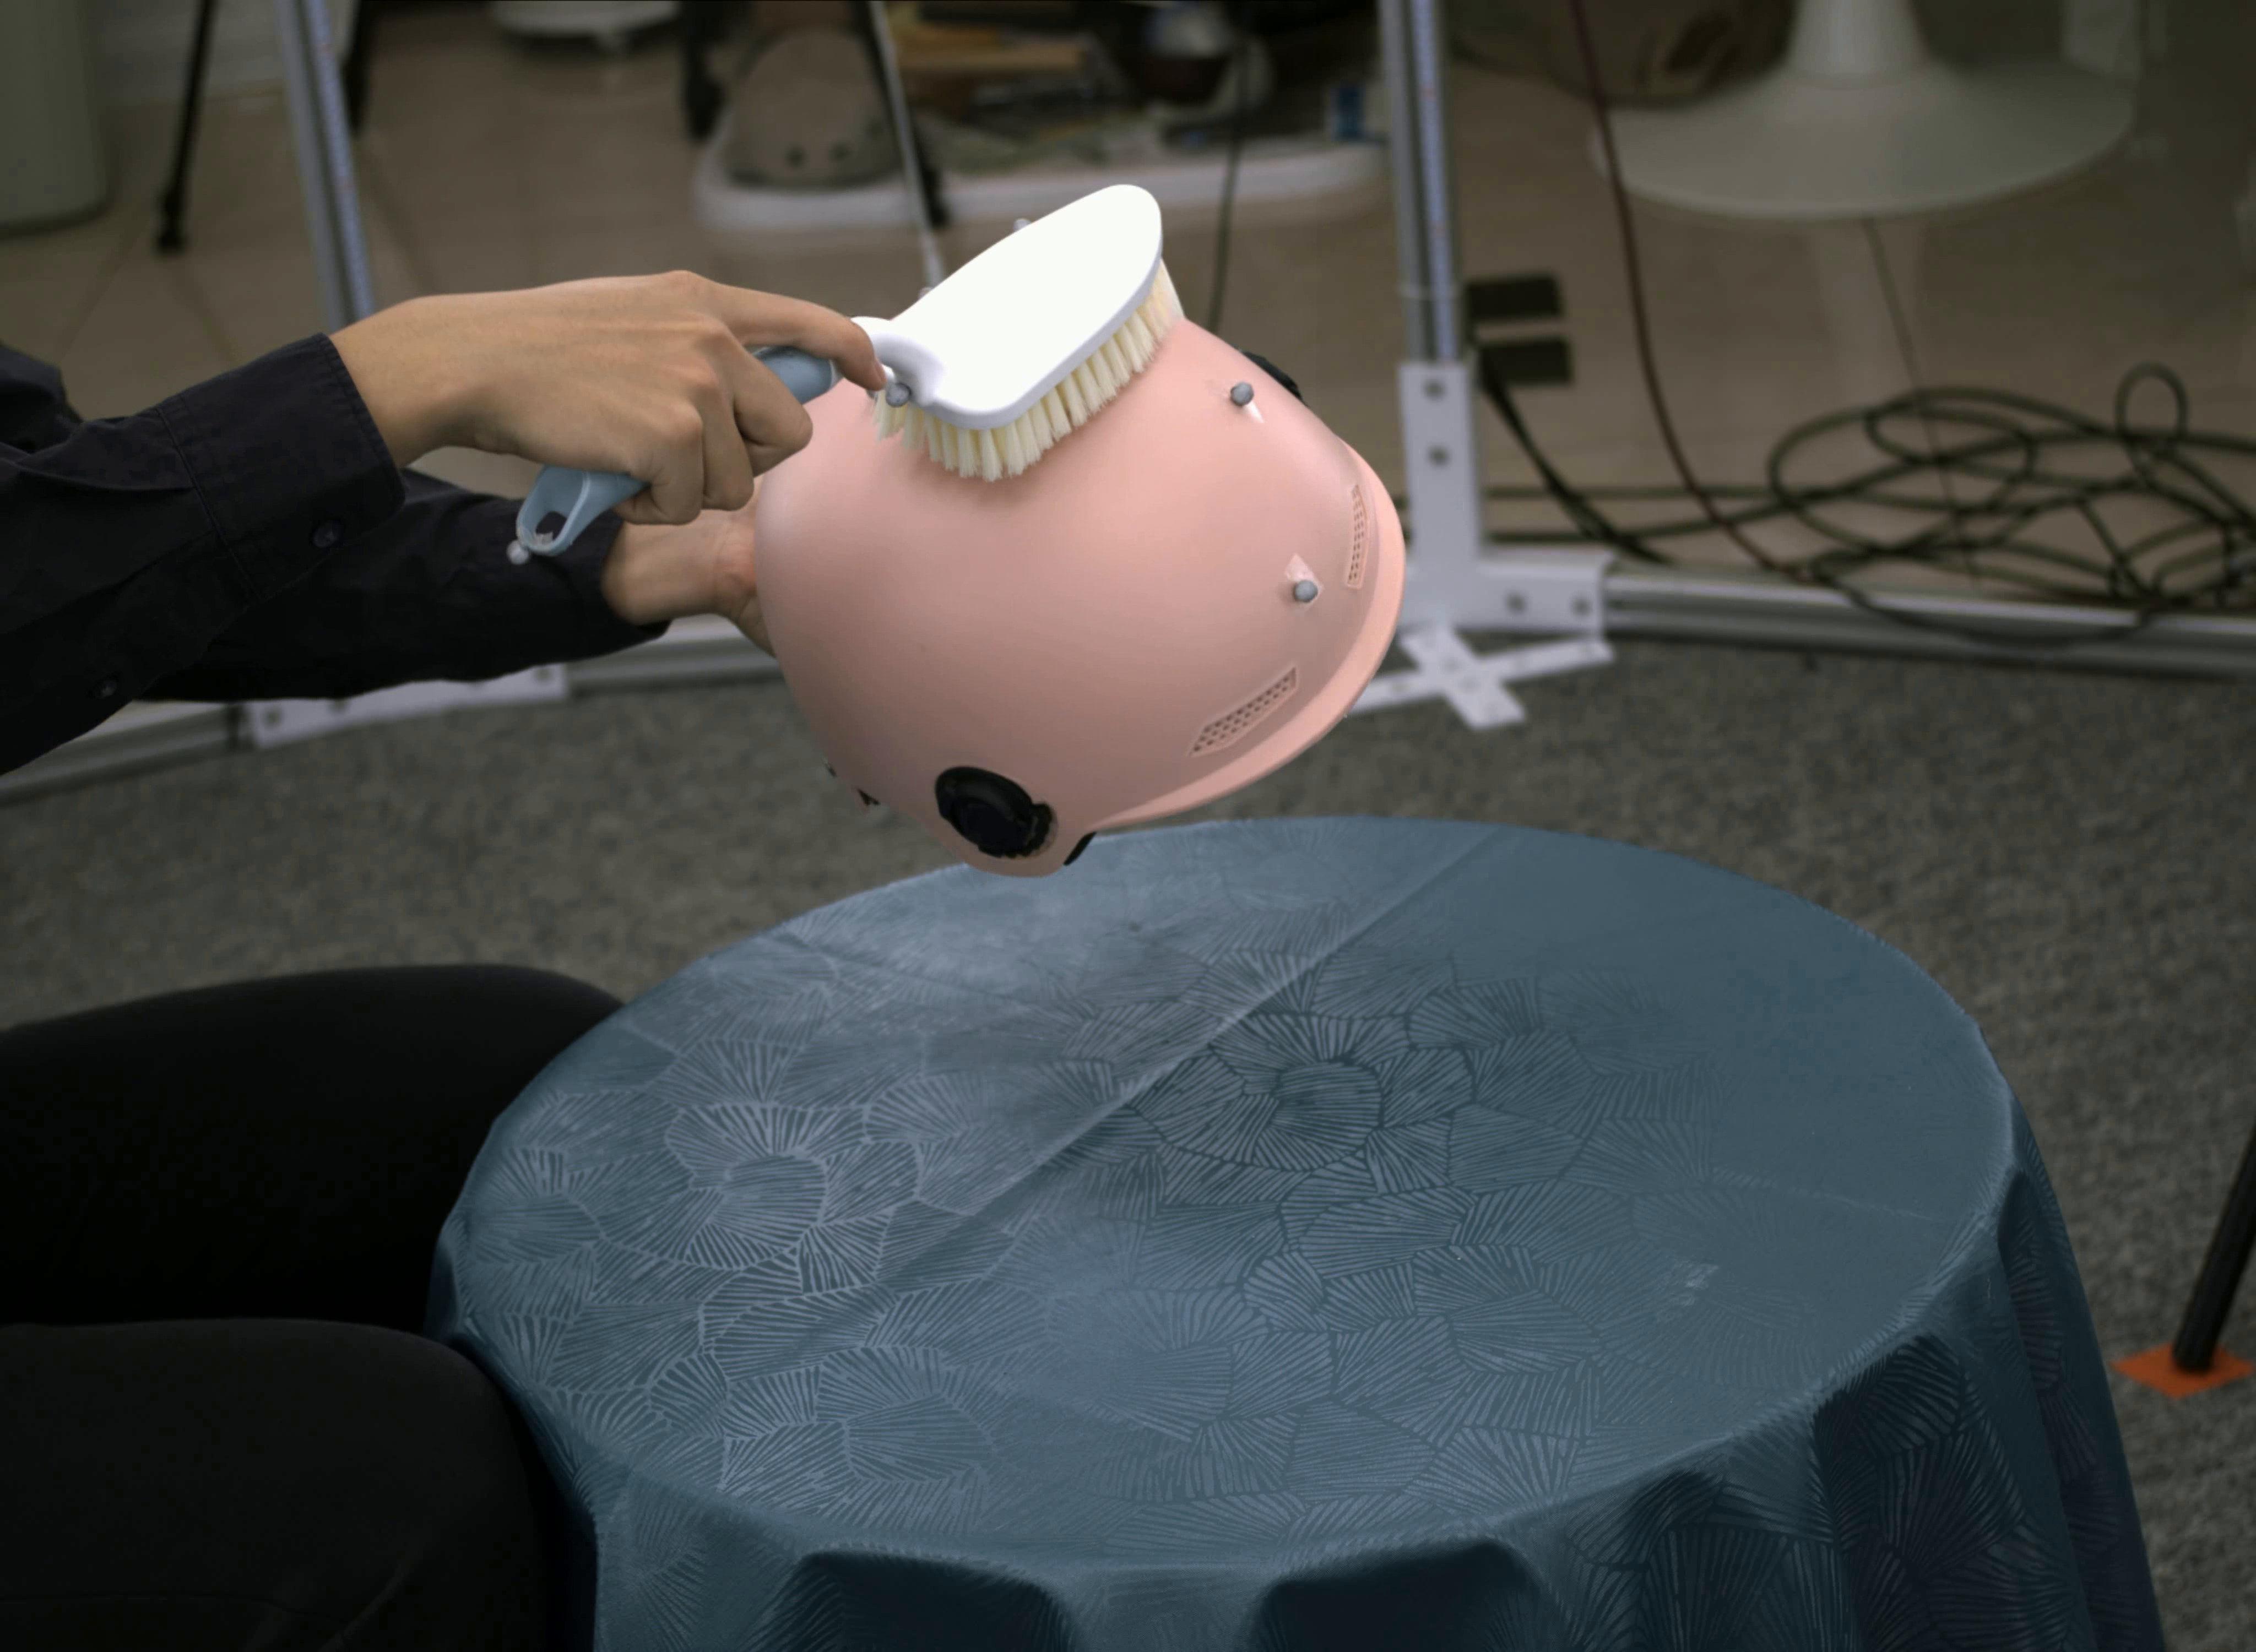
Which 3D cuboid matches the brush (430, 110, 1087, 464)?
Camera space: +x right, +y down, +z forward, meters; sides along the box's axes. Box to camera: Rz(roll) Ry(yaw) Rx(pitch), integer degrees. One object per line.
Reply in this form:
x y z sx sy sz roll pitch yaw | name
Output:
-0.132 -0.173 2.037 0.322 0.085 0.083 -32 14 -39 | brush

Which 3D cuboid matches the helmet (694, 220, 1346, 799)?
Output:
-0.060 -0.146 2.175 0.264 0.161 0.231 13 62 39 | helmet
